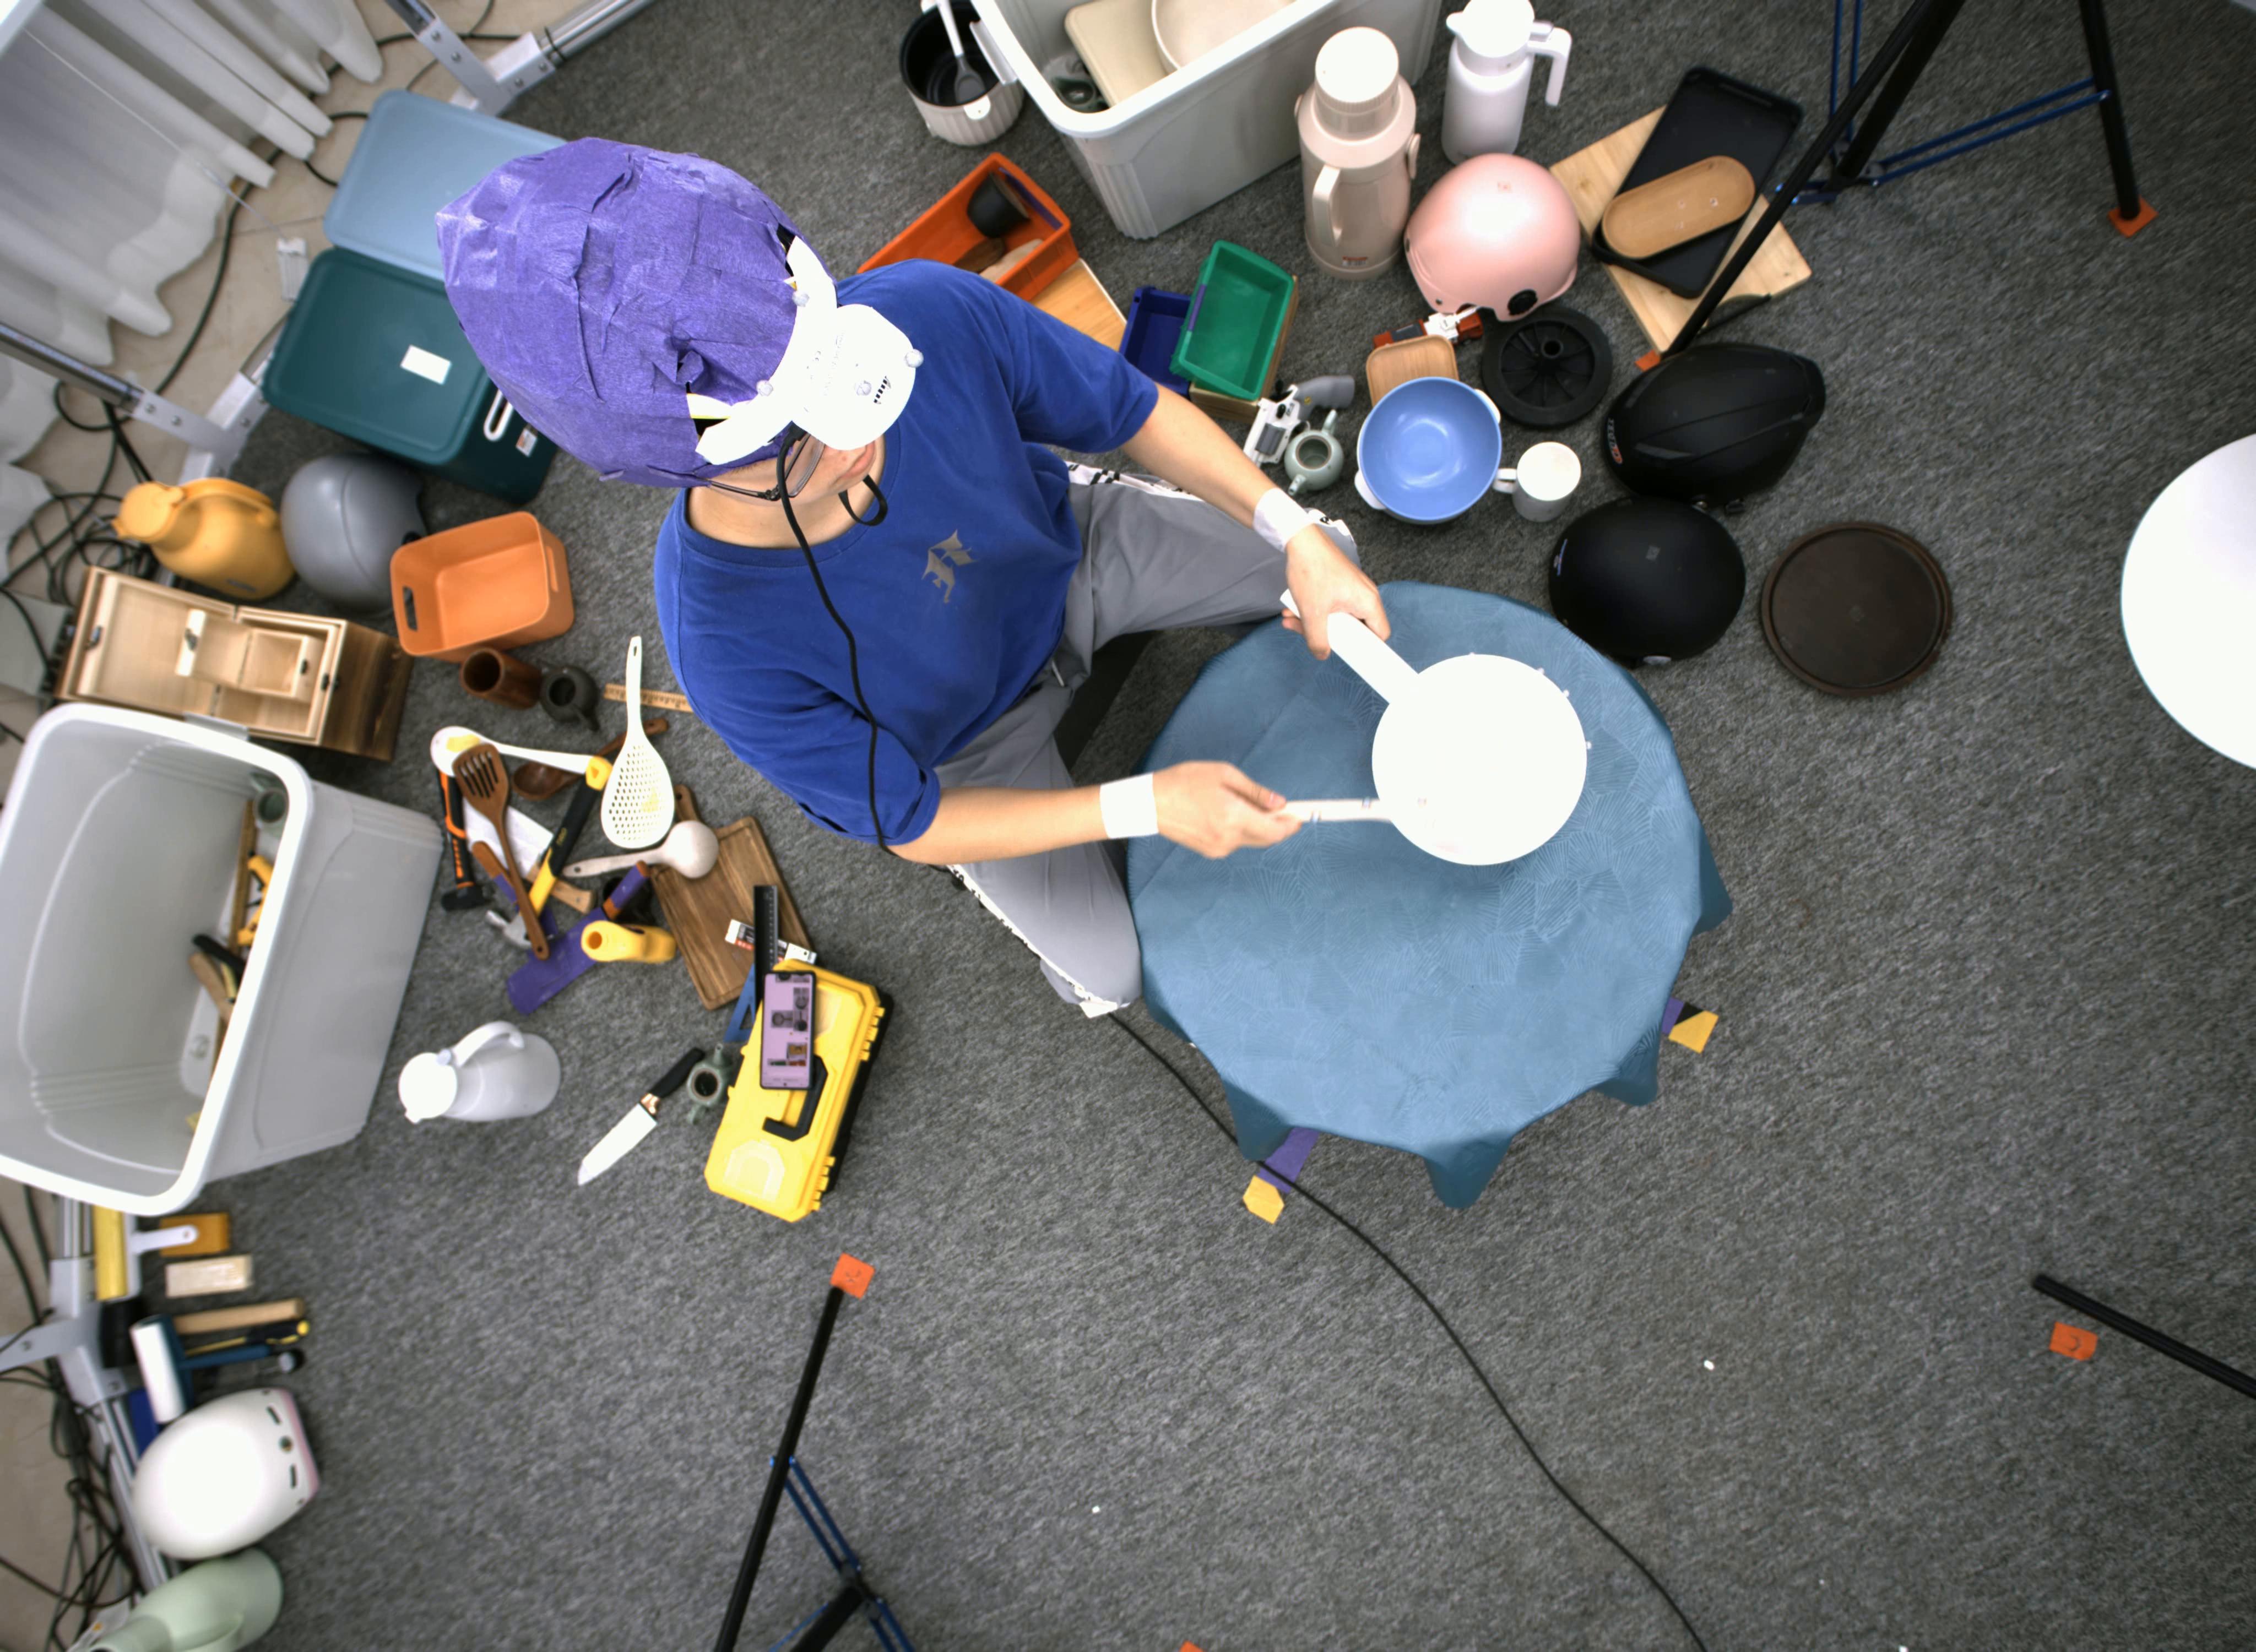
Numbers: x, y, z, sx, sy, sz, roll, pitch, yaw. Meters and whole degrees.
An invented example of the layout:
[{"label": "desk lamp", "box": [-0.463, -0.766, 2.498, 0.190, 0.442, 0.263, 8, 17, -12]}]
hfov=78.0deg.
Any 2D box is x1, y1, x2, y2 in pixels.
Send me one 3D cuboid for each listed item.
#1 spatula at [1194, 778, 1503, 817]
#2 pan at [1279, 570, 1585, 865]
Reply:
[{"label": "spatula", "box": [0.202, -0.022, 1.299, 0.295, 0.070, 0.011, -3, 114, 21]}, {"label": "pan", "box": [0.297, -0.122, 1.371, 0.353, 0.101, 0.204, 45, 112, 10]}]
